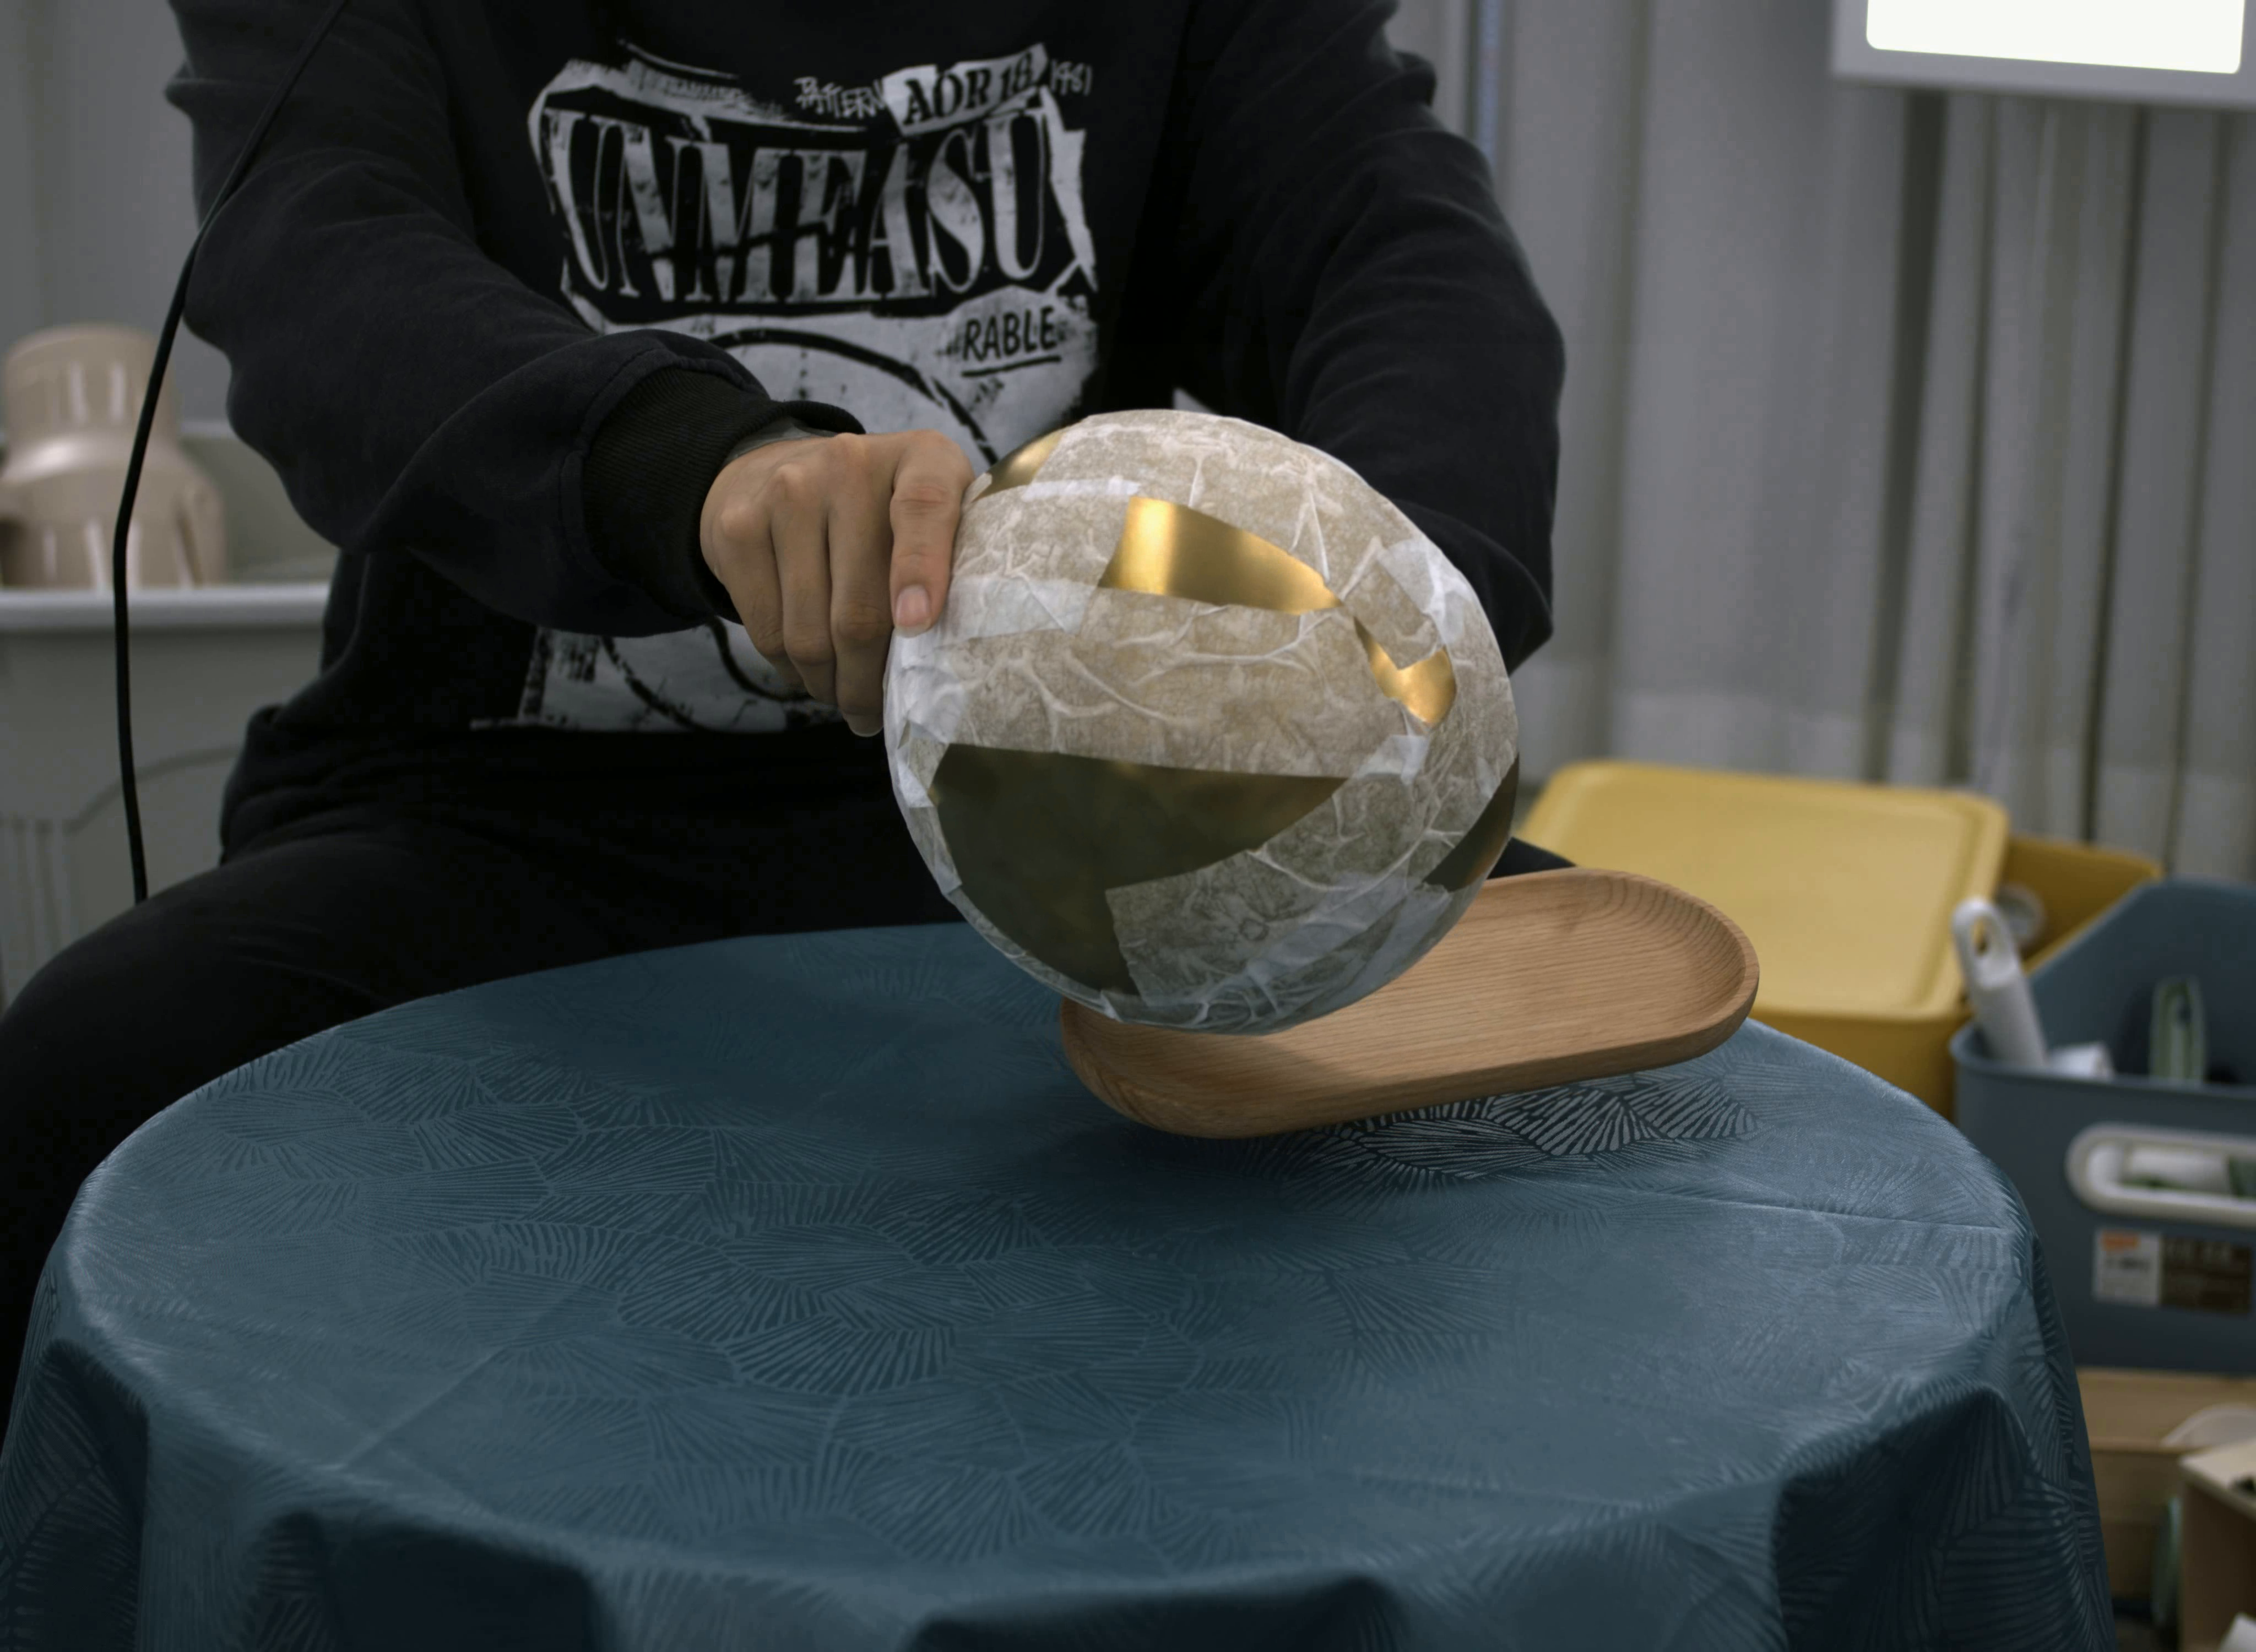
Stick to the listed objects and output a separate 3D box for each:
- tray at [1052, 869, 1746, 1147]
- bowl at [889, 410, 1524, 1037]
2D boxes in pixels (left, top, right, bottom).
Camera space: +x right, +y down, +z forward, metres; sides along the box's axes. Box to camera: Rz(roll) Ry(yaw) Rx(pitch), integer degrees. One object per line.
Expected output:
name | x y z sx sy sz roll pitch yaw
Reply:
tray | 0.087 0.058 1.678 0.231 0.020 0.100 -11 34 -19
bowl | 0.010 -0.011 1.576 0.212 0.217 0.094 8 35 22
